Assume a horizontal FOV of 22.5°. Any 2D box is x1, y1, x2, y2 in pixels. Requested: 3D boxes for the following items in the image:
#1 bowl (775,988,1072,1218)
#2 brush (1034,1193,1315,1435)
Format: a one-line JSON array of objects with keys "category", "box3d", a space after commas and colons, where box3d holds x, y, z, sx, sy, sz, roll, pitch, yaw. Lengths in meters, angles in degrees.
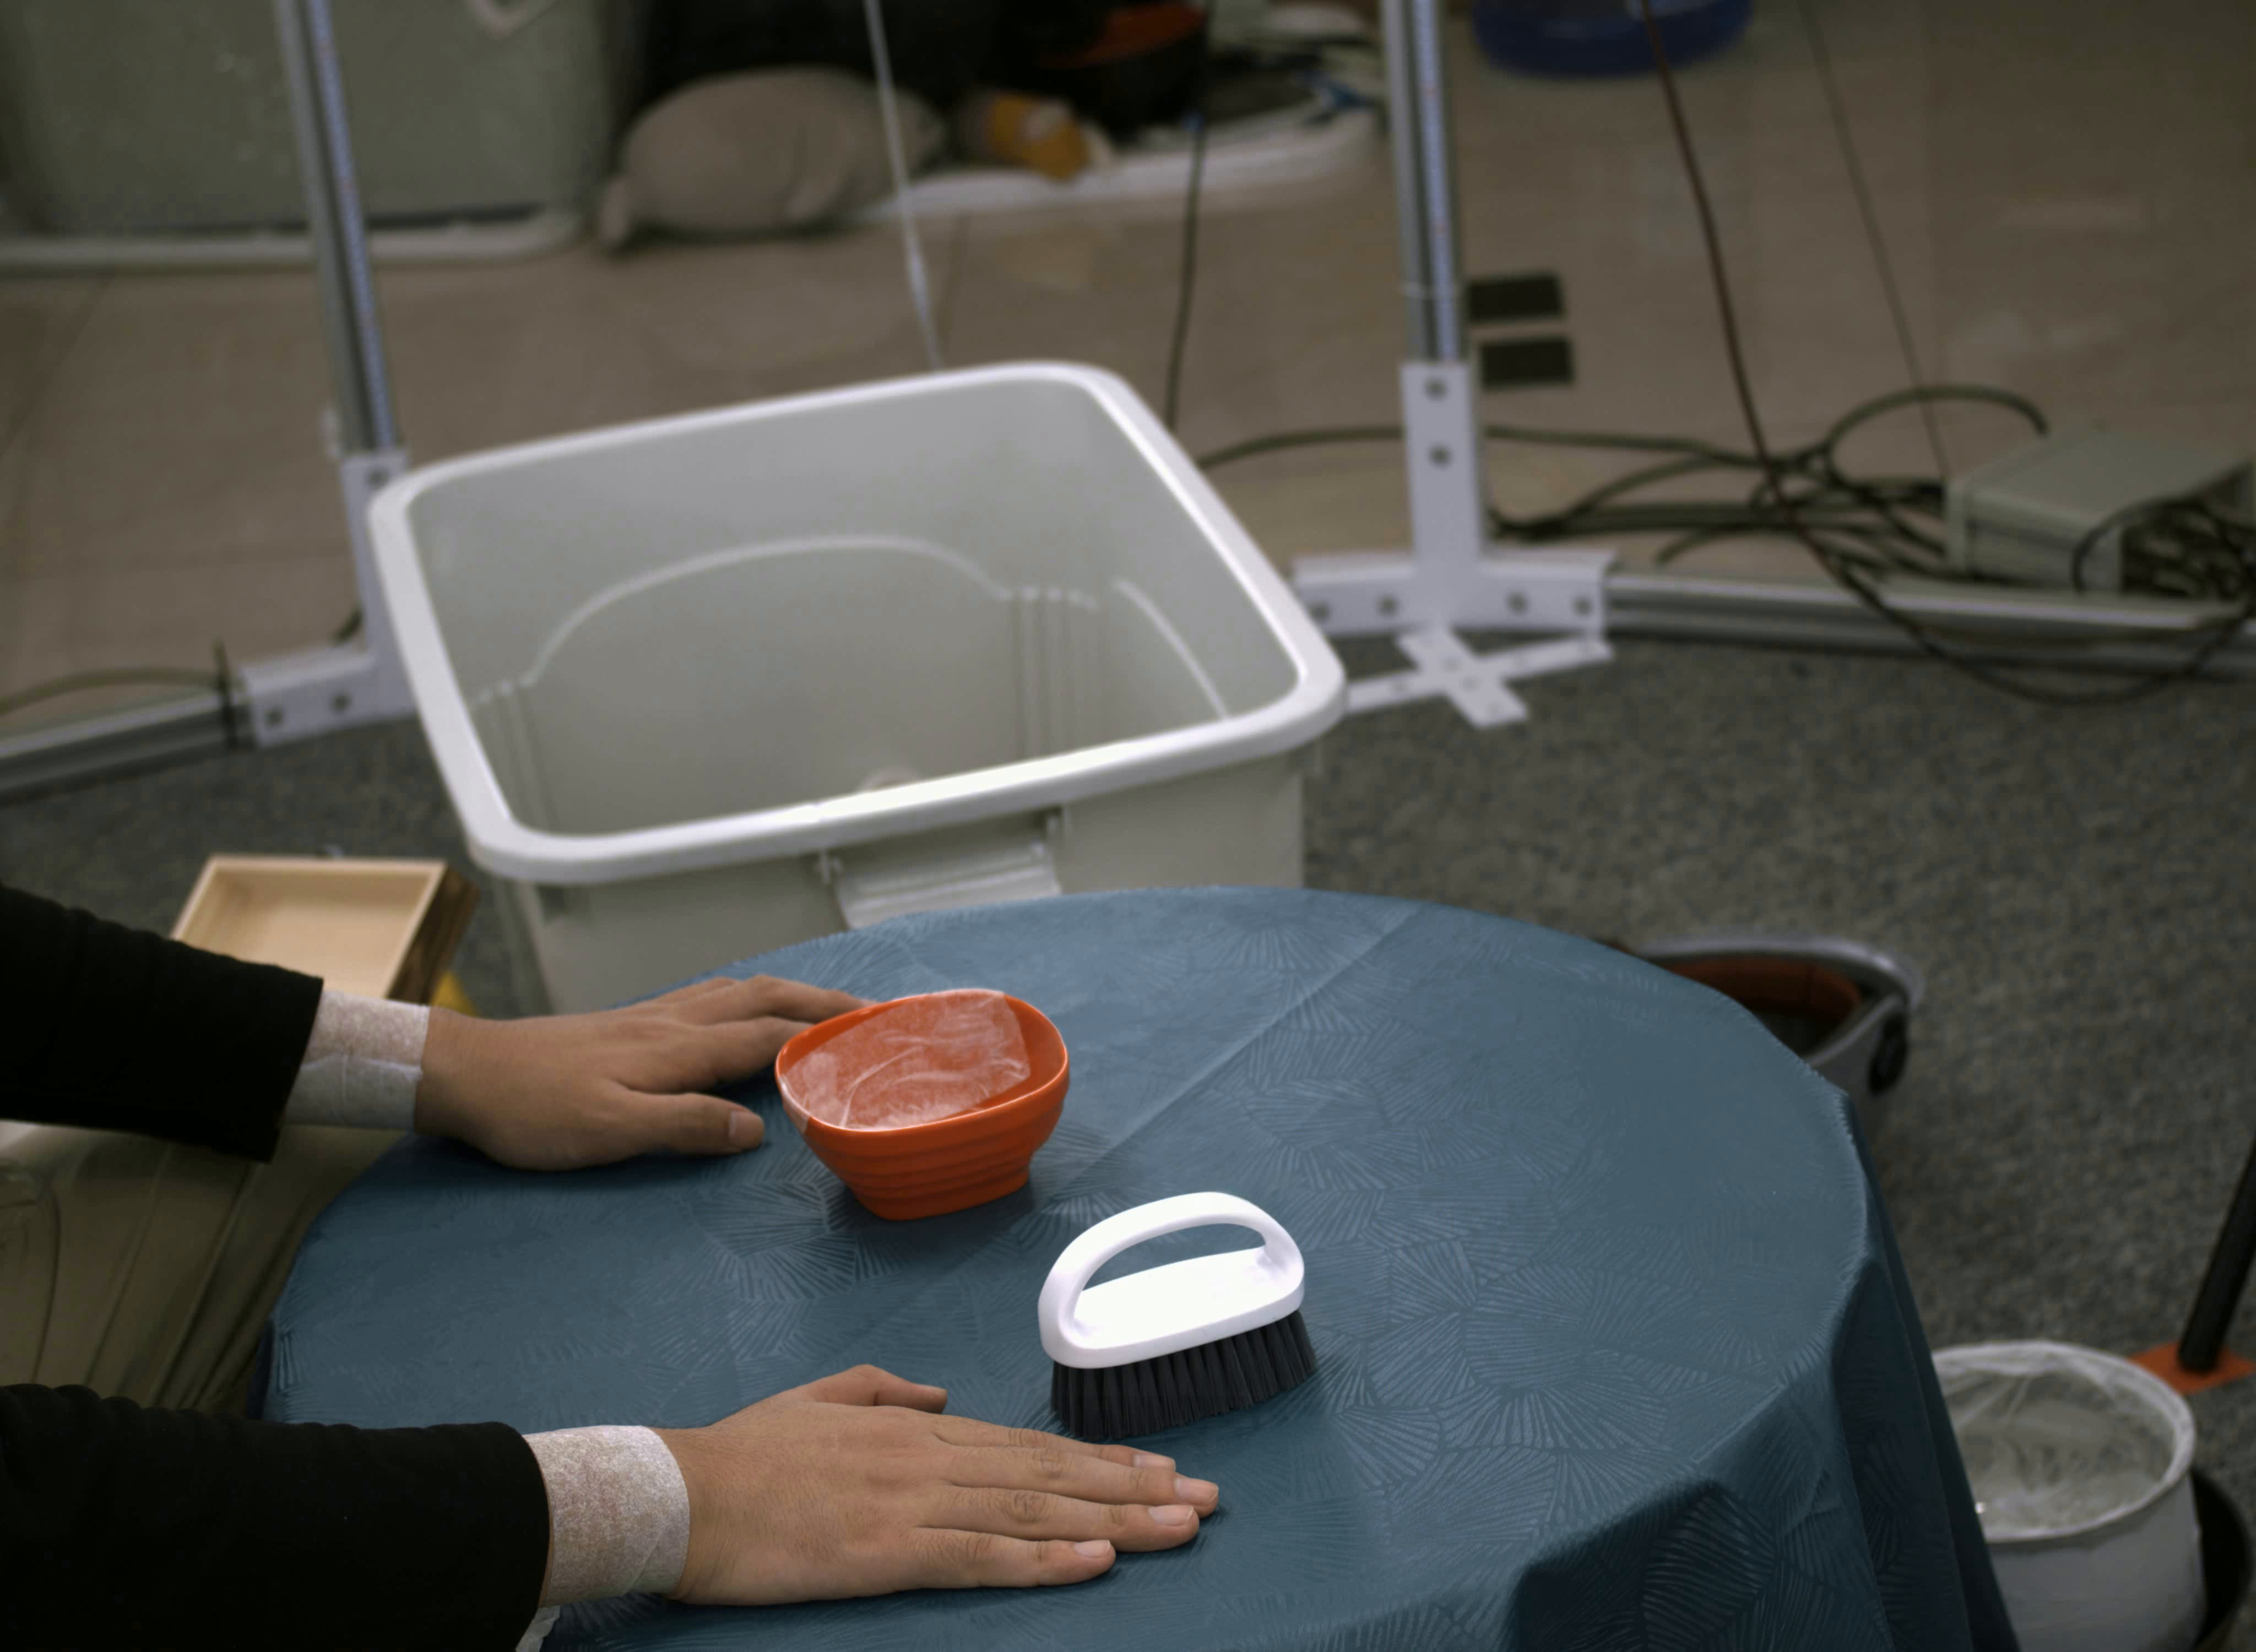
[{"category": "bowl", "box3d": [-0.076, 0.110, 2.166, 0.119, 0.052, 0.117, -3, 26, 2]}, {"category": "brush", "box3d": [0.014, 0.166, 1.997, 0.099, 0.073, 0.049, -13, 27, -14]}]
